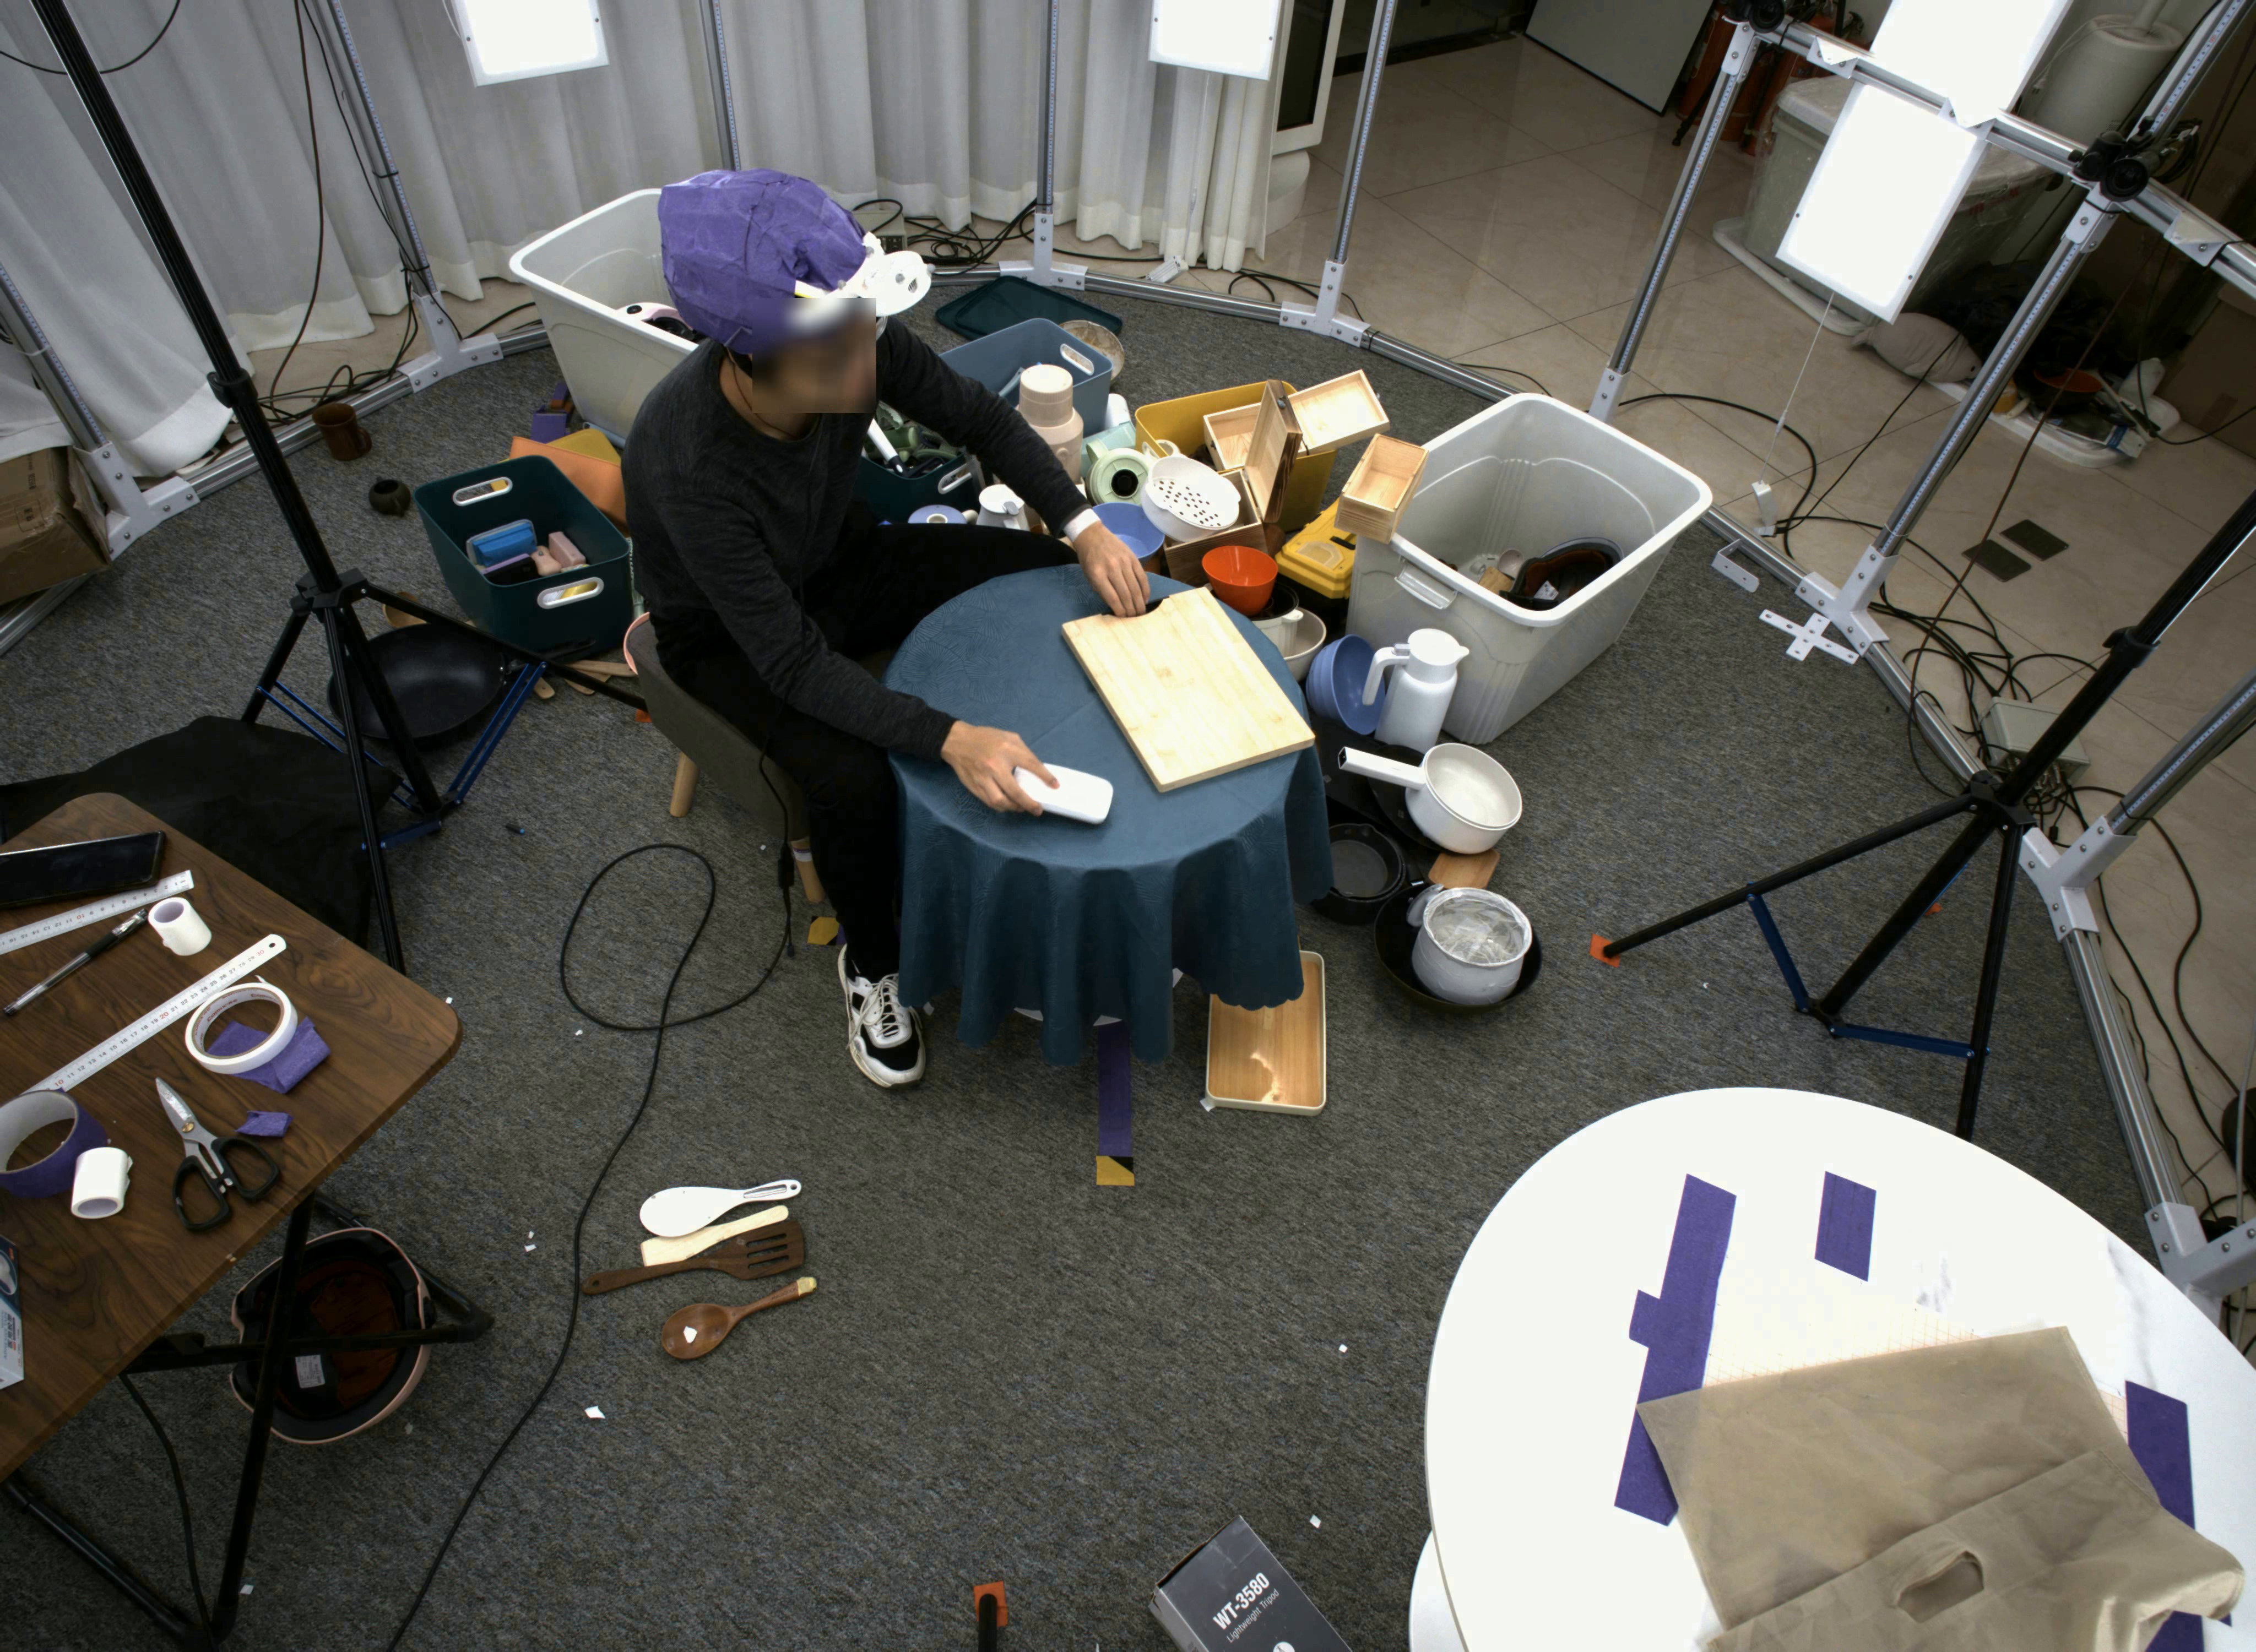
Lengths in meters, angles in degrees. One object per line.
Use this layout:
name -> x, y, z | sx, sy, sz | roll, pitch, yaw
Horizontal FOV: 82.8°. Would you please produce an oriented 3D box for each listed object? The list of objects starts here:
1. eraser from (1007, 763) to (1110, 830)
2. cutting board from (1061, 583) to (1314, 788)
eraser -> -0.090, -0.040, 1.662 | 0.131, 0.034, 0.065 | 17, 51, -3
cutting board -> 0.079, -0.210, 1.847 | 0.251, 0.023, 0.356 | -18, 53, -18
